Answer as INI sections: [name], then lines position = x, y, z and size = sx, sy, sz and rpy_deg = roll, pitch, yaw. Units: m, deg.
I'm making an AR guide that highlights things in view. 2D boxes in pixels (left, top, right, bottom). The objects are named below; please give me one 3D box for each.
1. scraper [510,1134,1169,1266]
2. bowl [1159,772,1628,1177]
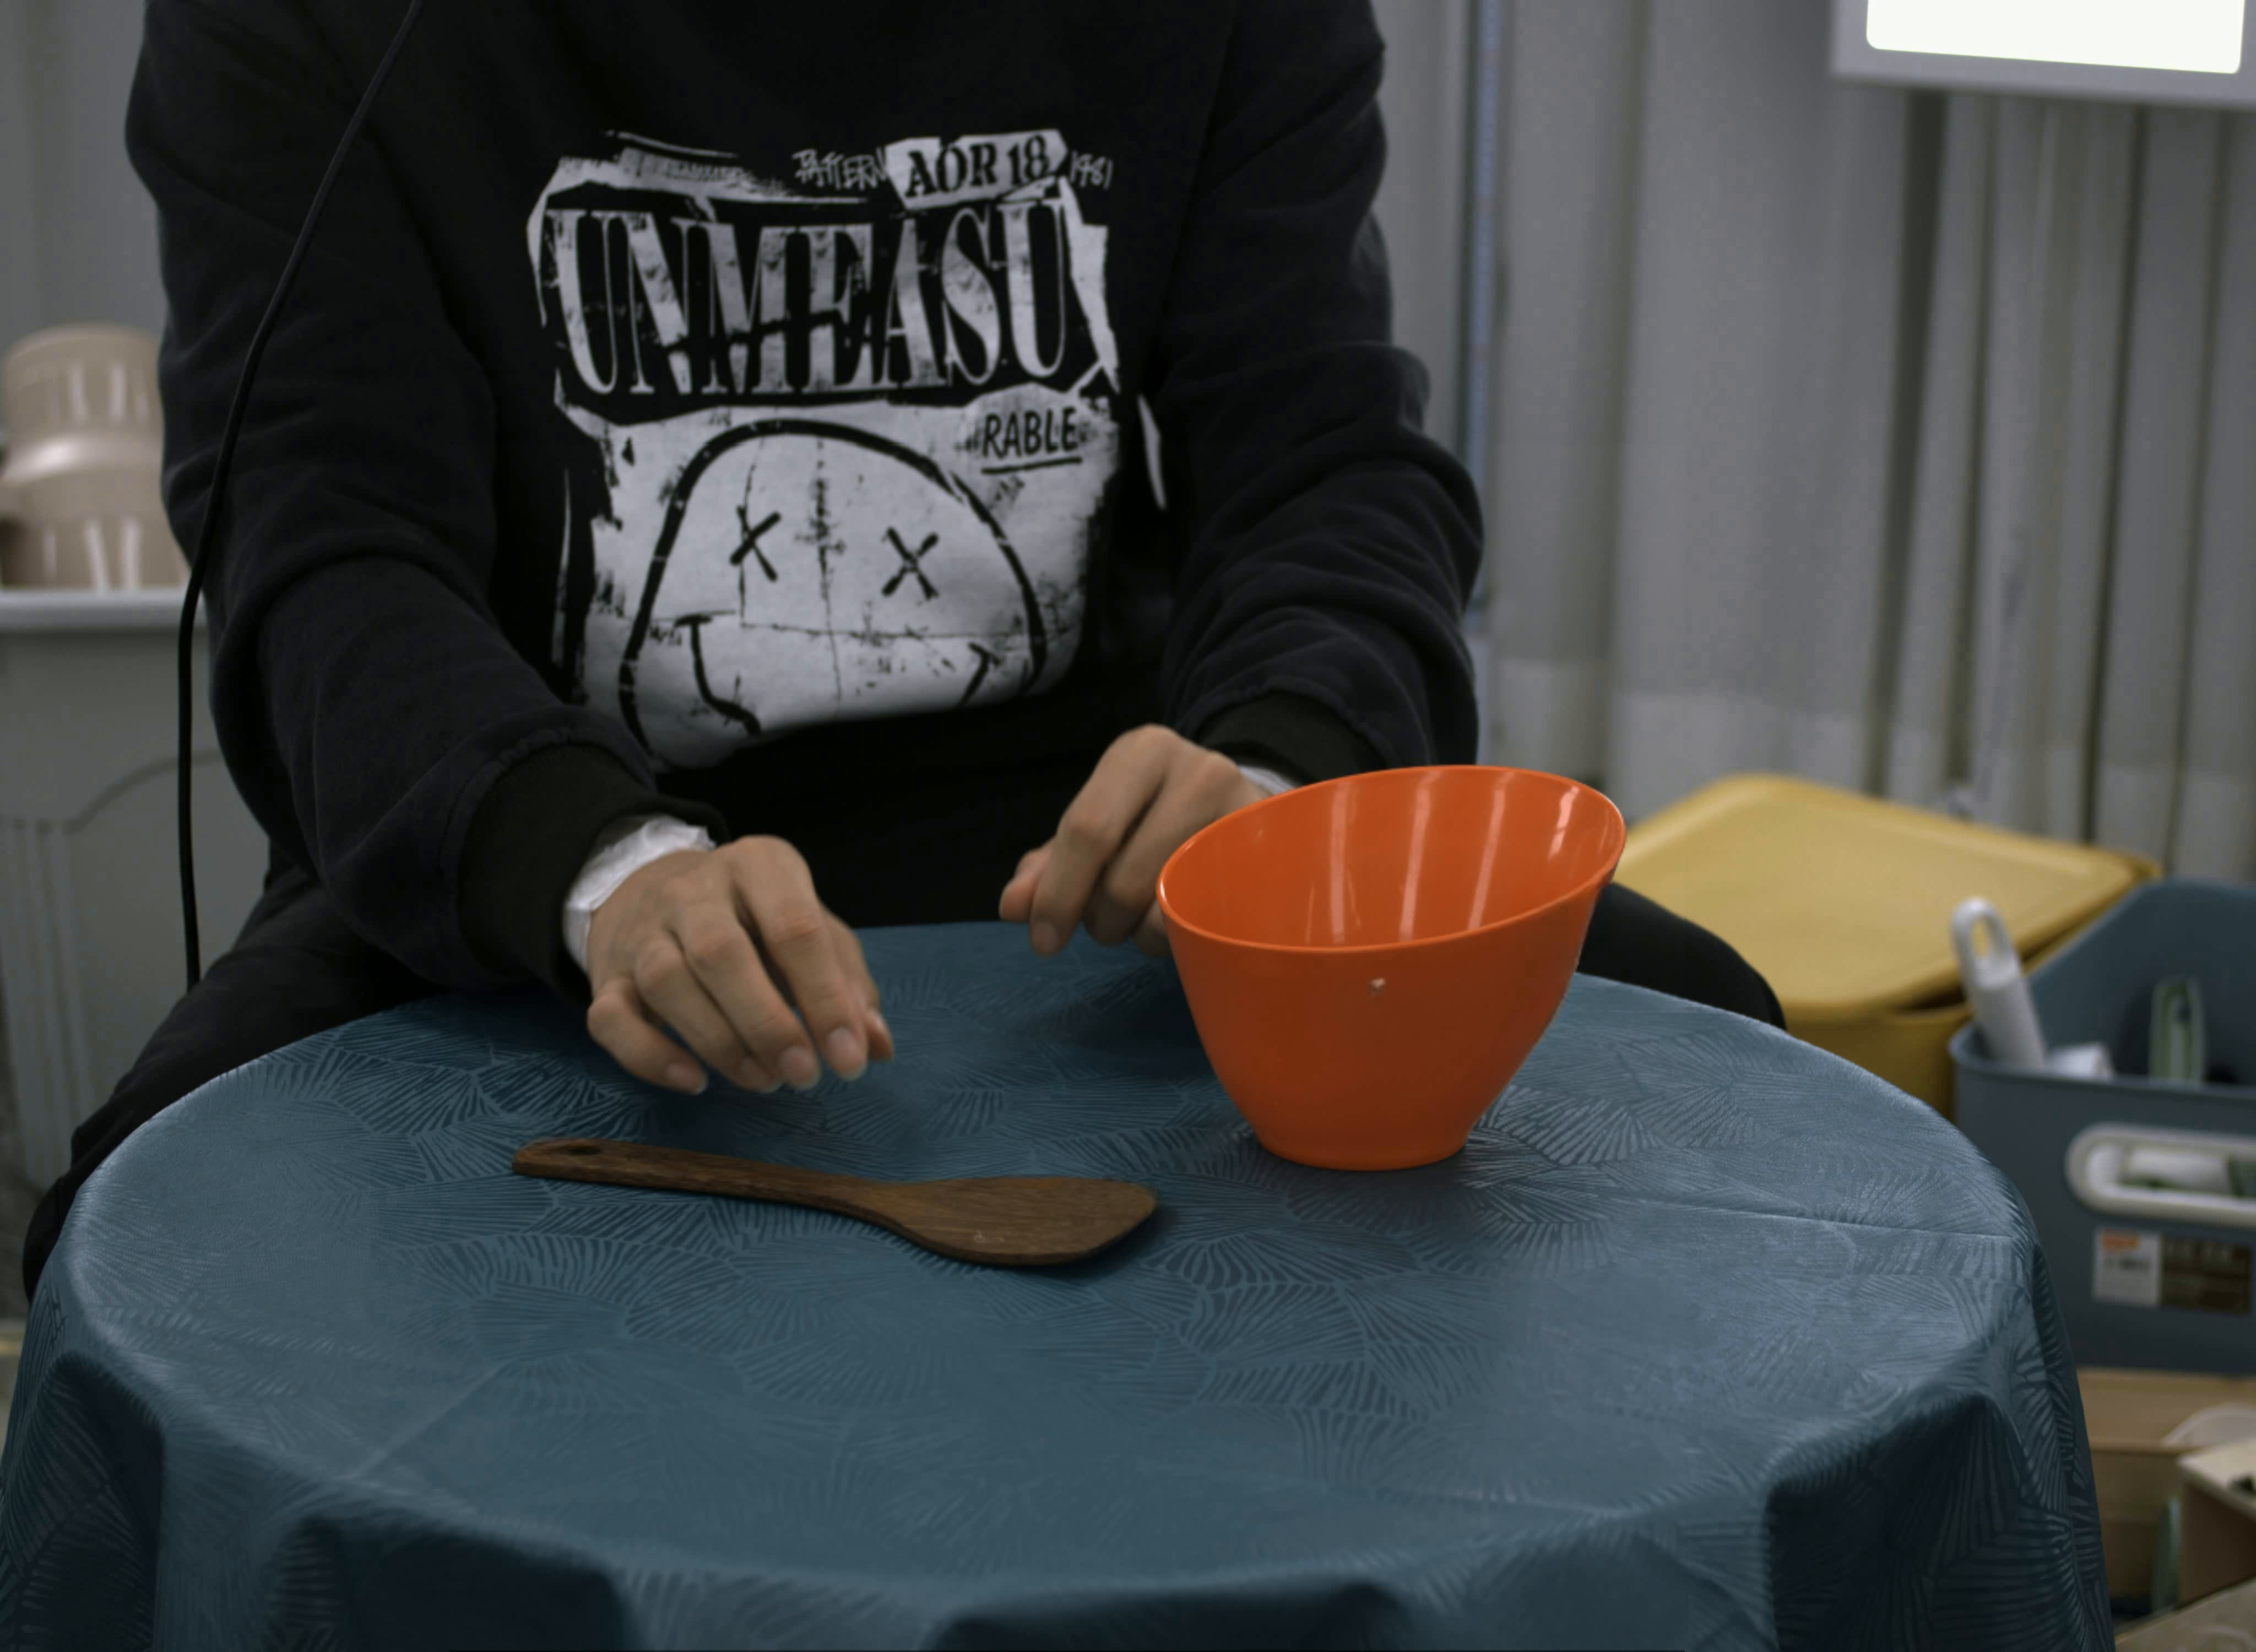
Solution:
[scraper]
position = -0.092, 0.111, 1.612
size = 0.209, 0.011, 0.076
rpy_deg = 6, 16, 20
[bowl]
position = 0.083, 0.050, 1.666
size = 0.147, 0.105, 0.147
rpy_deg = 1, 16, 0
